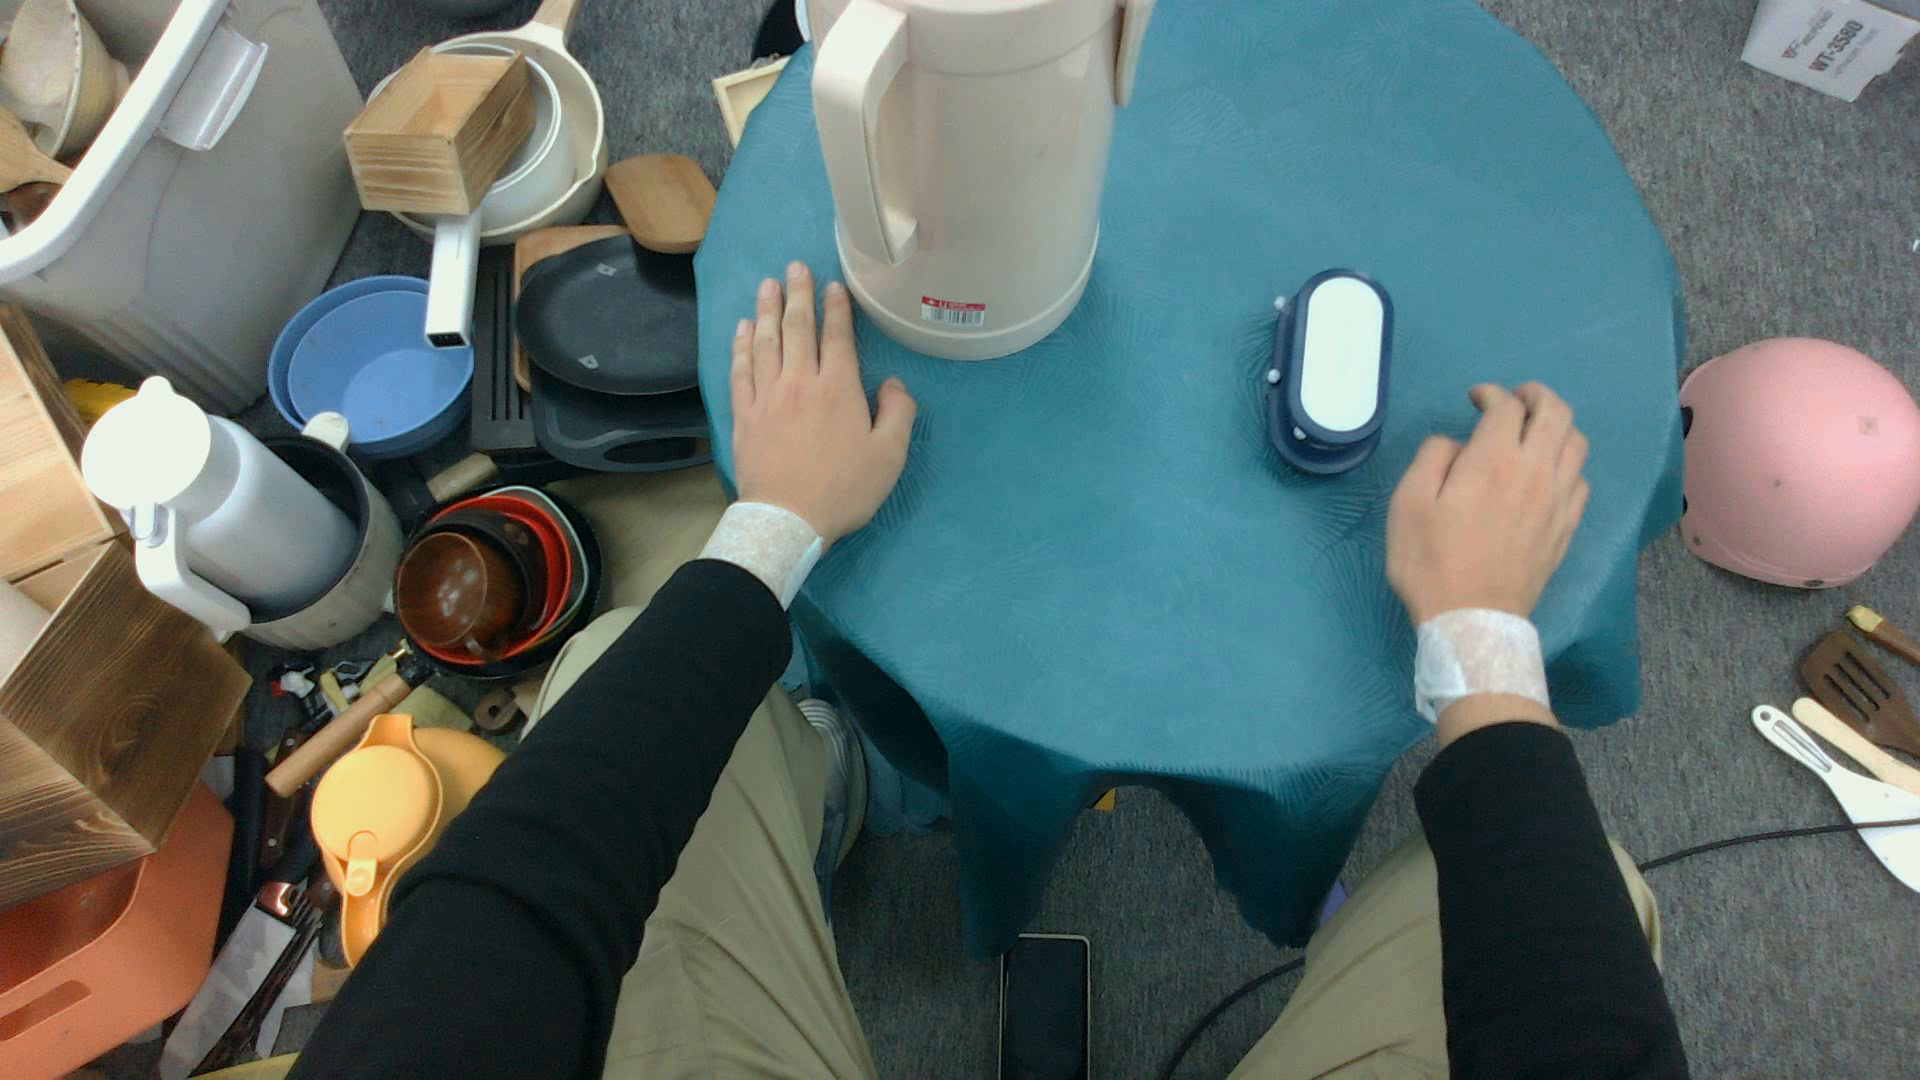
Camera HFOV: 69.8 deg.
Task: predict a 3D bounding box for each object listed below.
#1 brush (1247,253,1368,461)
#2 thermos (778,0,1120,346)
[{"bbox_3d":[0.203,-0.105,0.804,0.068,0.061,0.122,9,68,6],"label":"brush"},{"bbox_3d":[-0.017,-0.244,0.667,0.175,0.405,0.207,27,71,6],"label":"thermos"}]
